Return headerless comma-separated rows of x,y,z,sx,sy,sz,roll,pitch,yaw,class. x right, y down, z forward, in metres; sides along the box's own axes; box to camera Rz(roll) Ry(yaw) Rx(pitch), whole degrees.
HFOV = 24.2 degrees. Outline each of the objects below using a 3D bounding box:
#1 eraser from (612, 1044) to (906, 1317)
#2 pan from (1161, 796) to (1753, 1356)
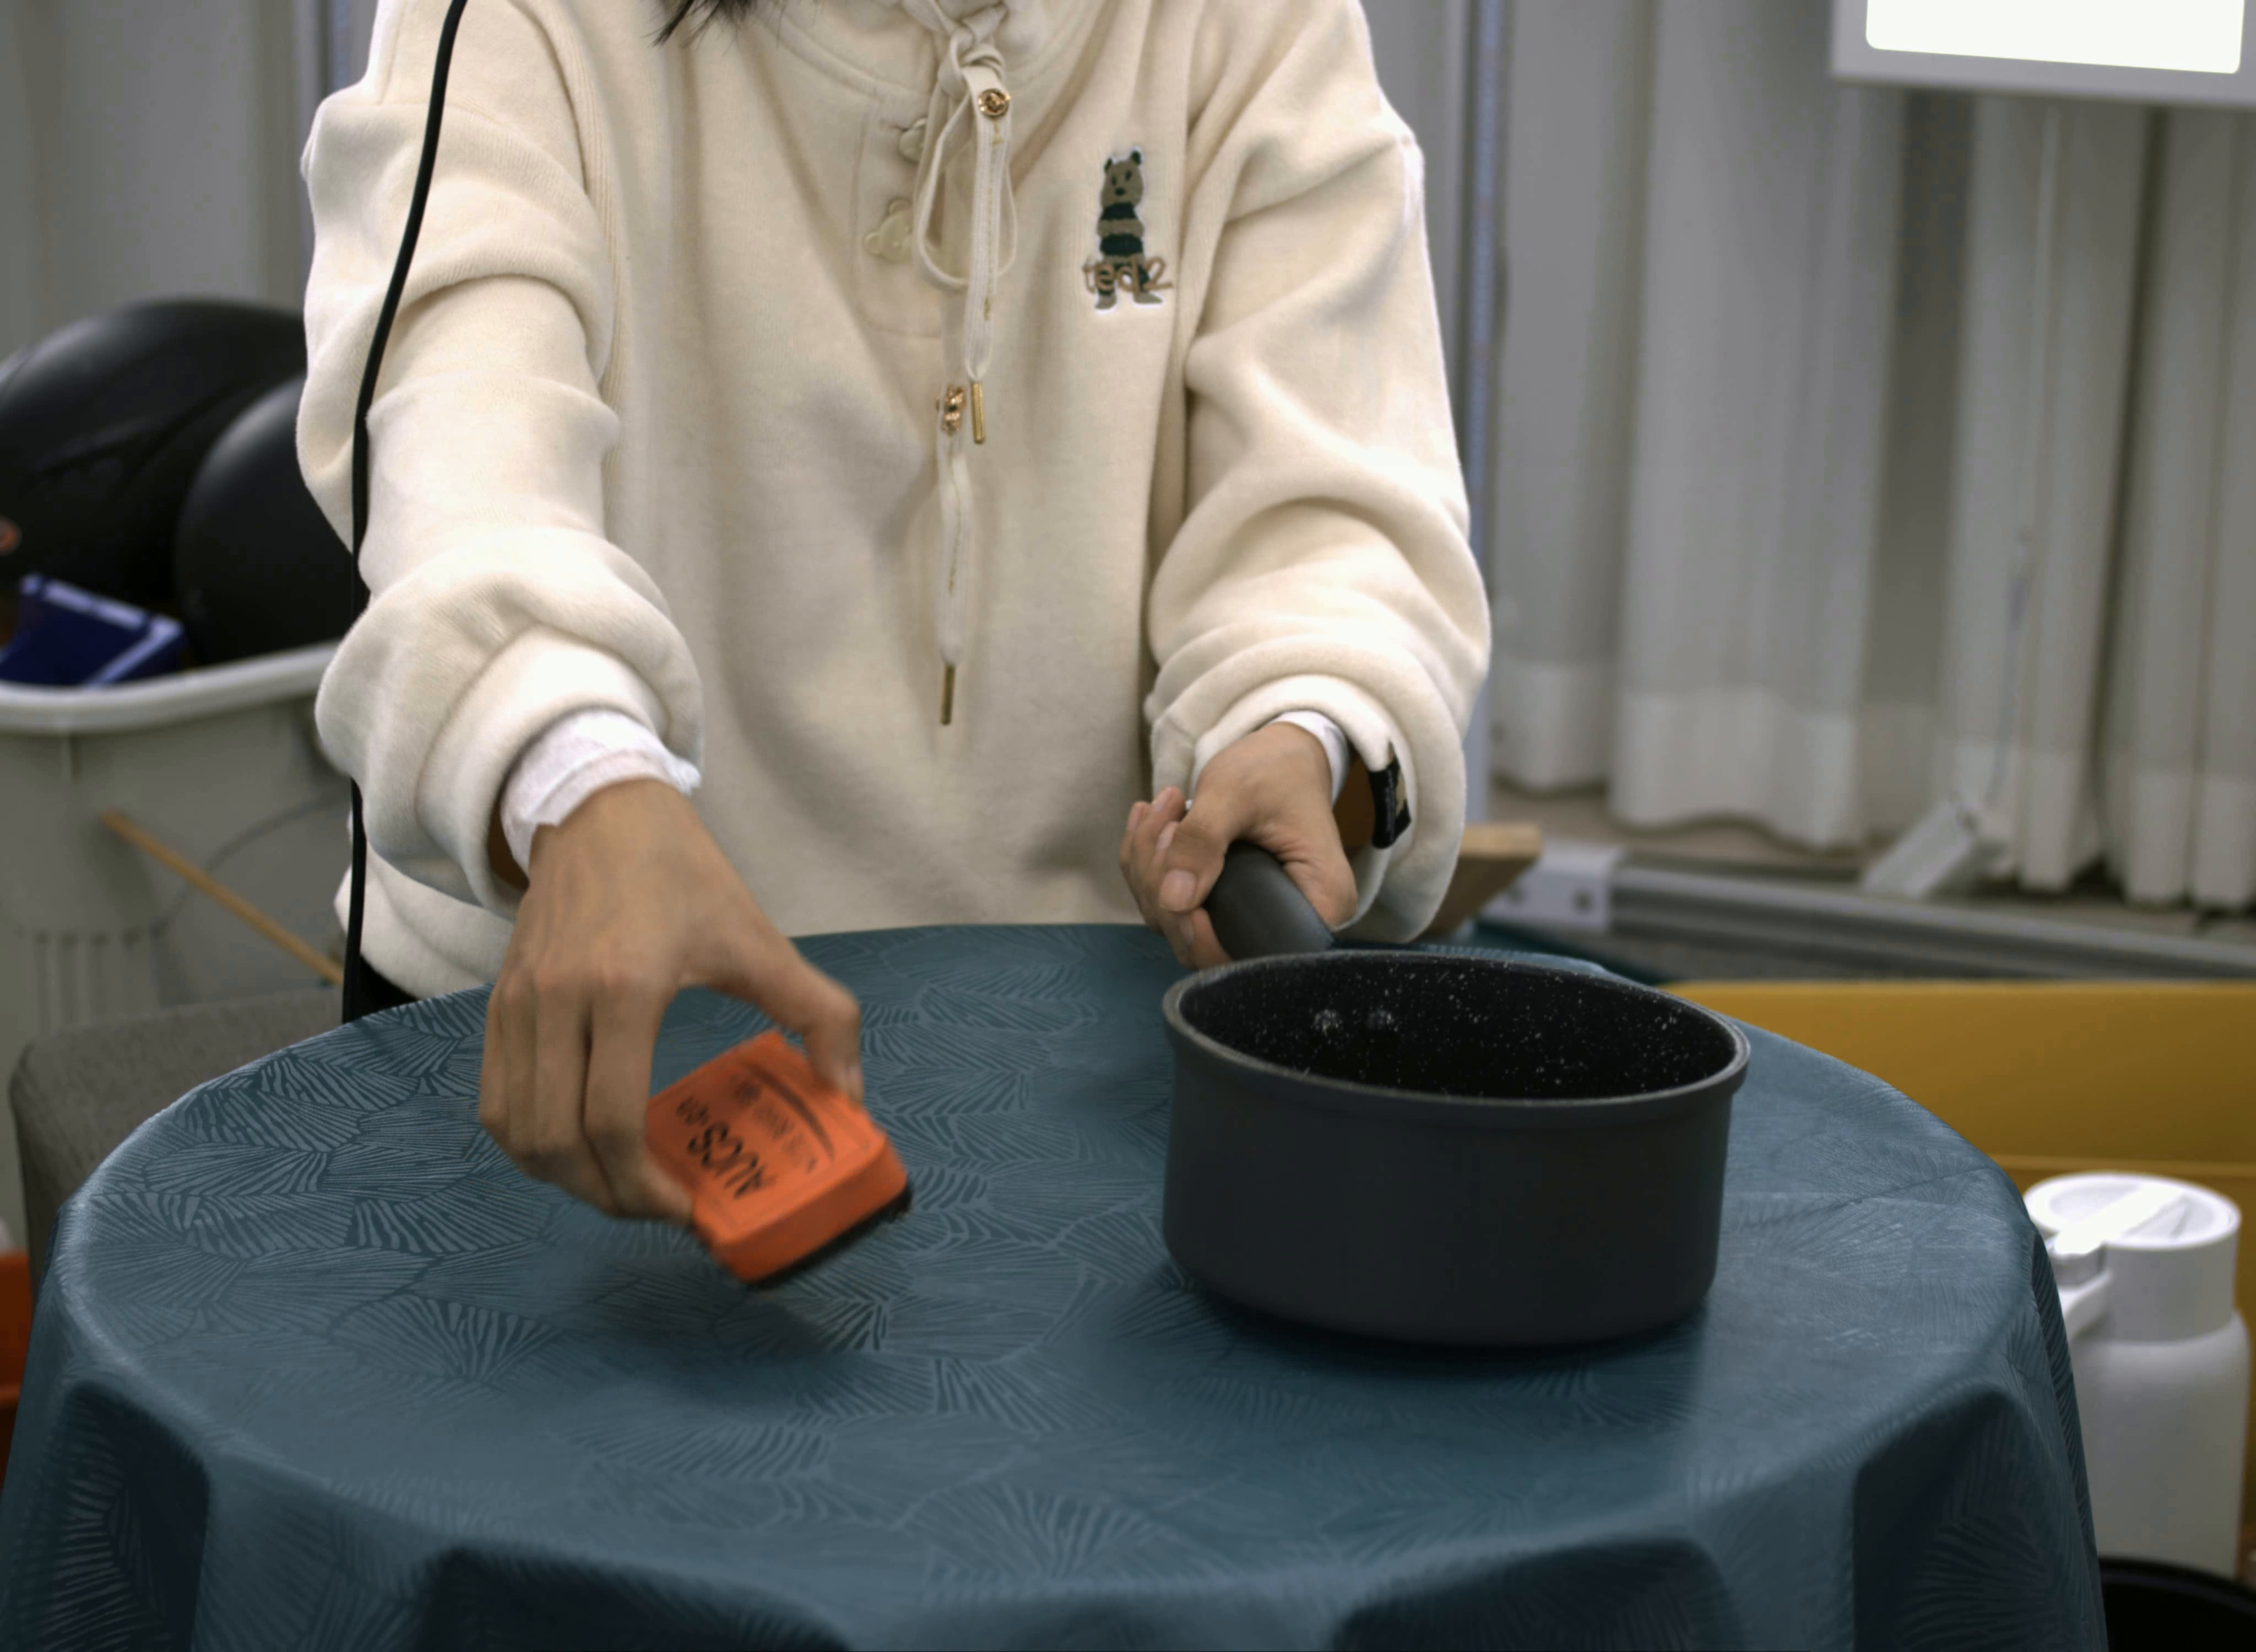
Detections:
-0.107,0.100,1.514,0.059,0.023,0.107,-31,27,-12,eraser
0.072,0.072,1.604,0.172,0.087,0.325,0,15,-16,pan
